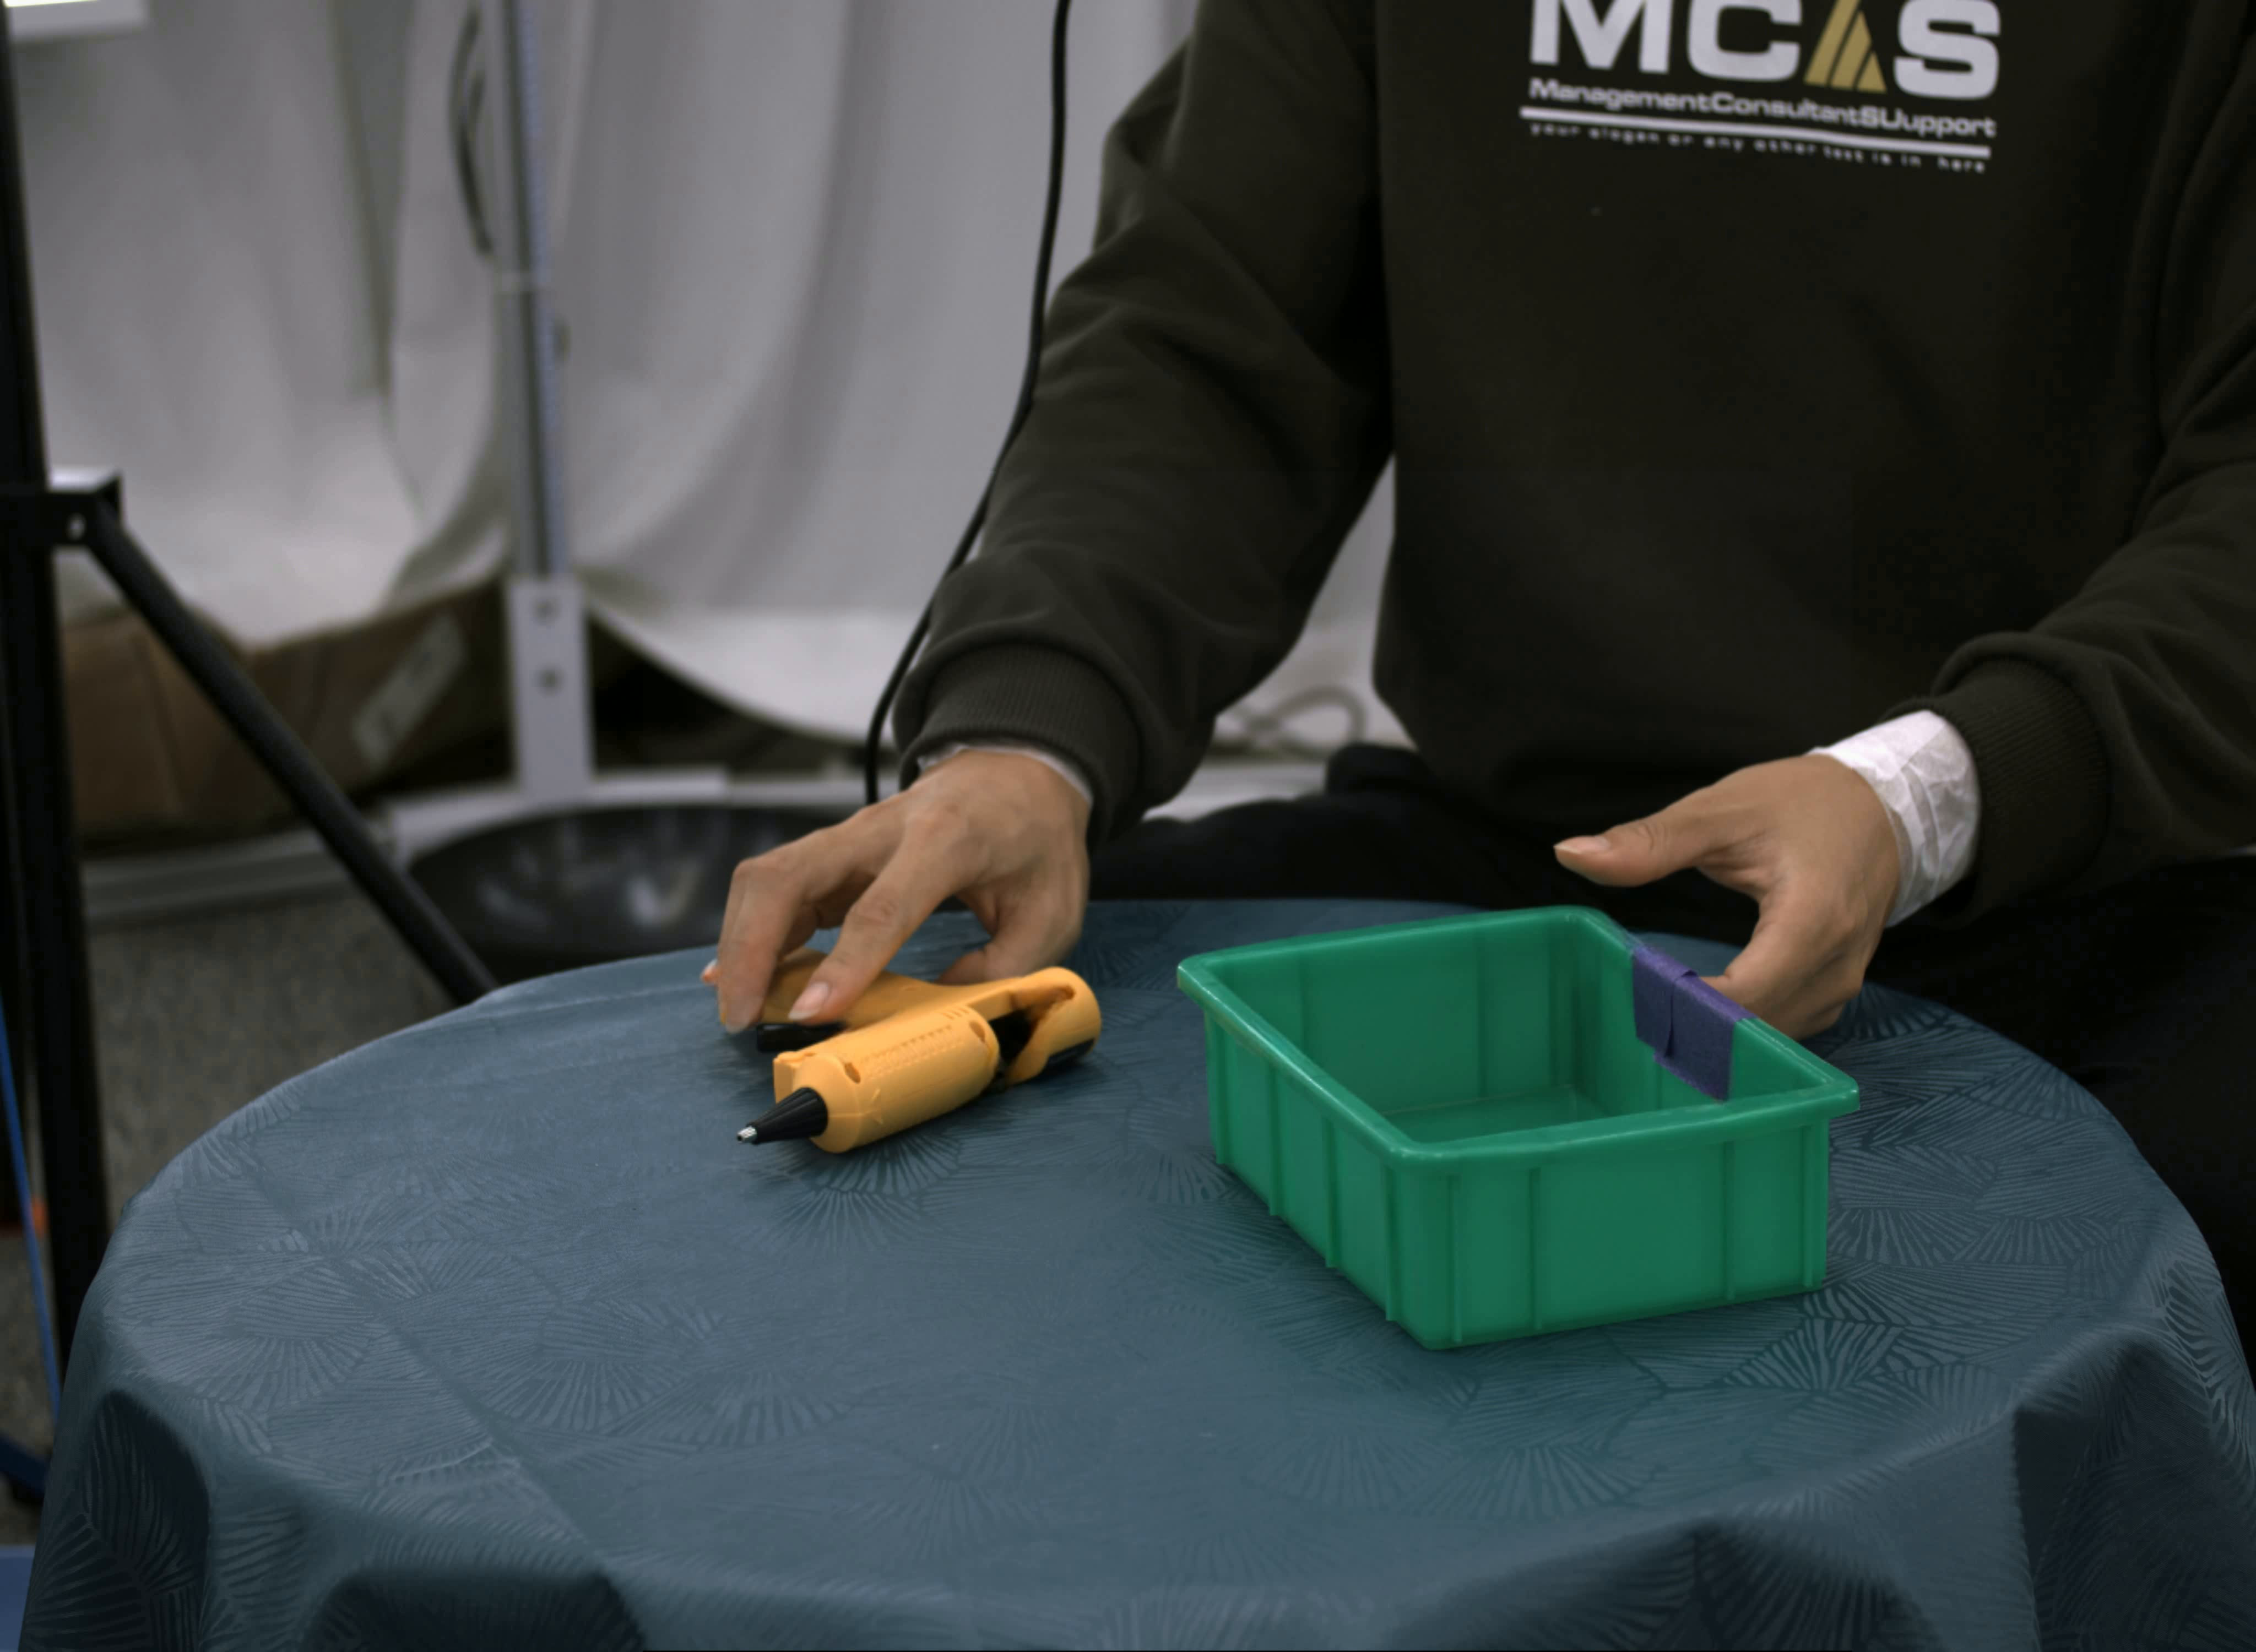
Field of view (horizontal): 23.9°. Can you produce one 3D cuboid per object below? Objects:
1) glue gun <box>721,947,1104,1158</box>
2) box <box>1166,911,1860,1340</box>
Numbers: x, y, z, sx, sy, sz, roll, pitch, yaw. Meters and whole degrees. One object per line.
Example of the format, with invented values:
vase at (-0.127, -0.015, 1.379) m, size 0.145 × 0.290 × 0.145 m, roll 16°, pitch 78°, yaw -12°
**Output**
glue gun at (-0.101, 0.071, 1.657) m, size 0.136 × 0.031 × 0.148 m, roll 8°, pitch 19°, yaw 37°
box at (0.106, 0.084, 1.511) m, size 0.136 × 0.065 × 0.214 m, roll -5°, pitch 14°, yaw -18°
